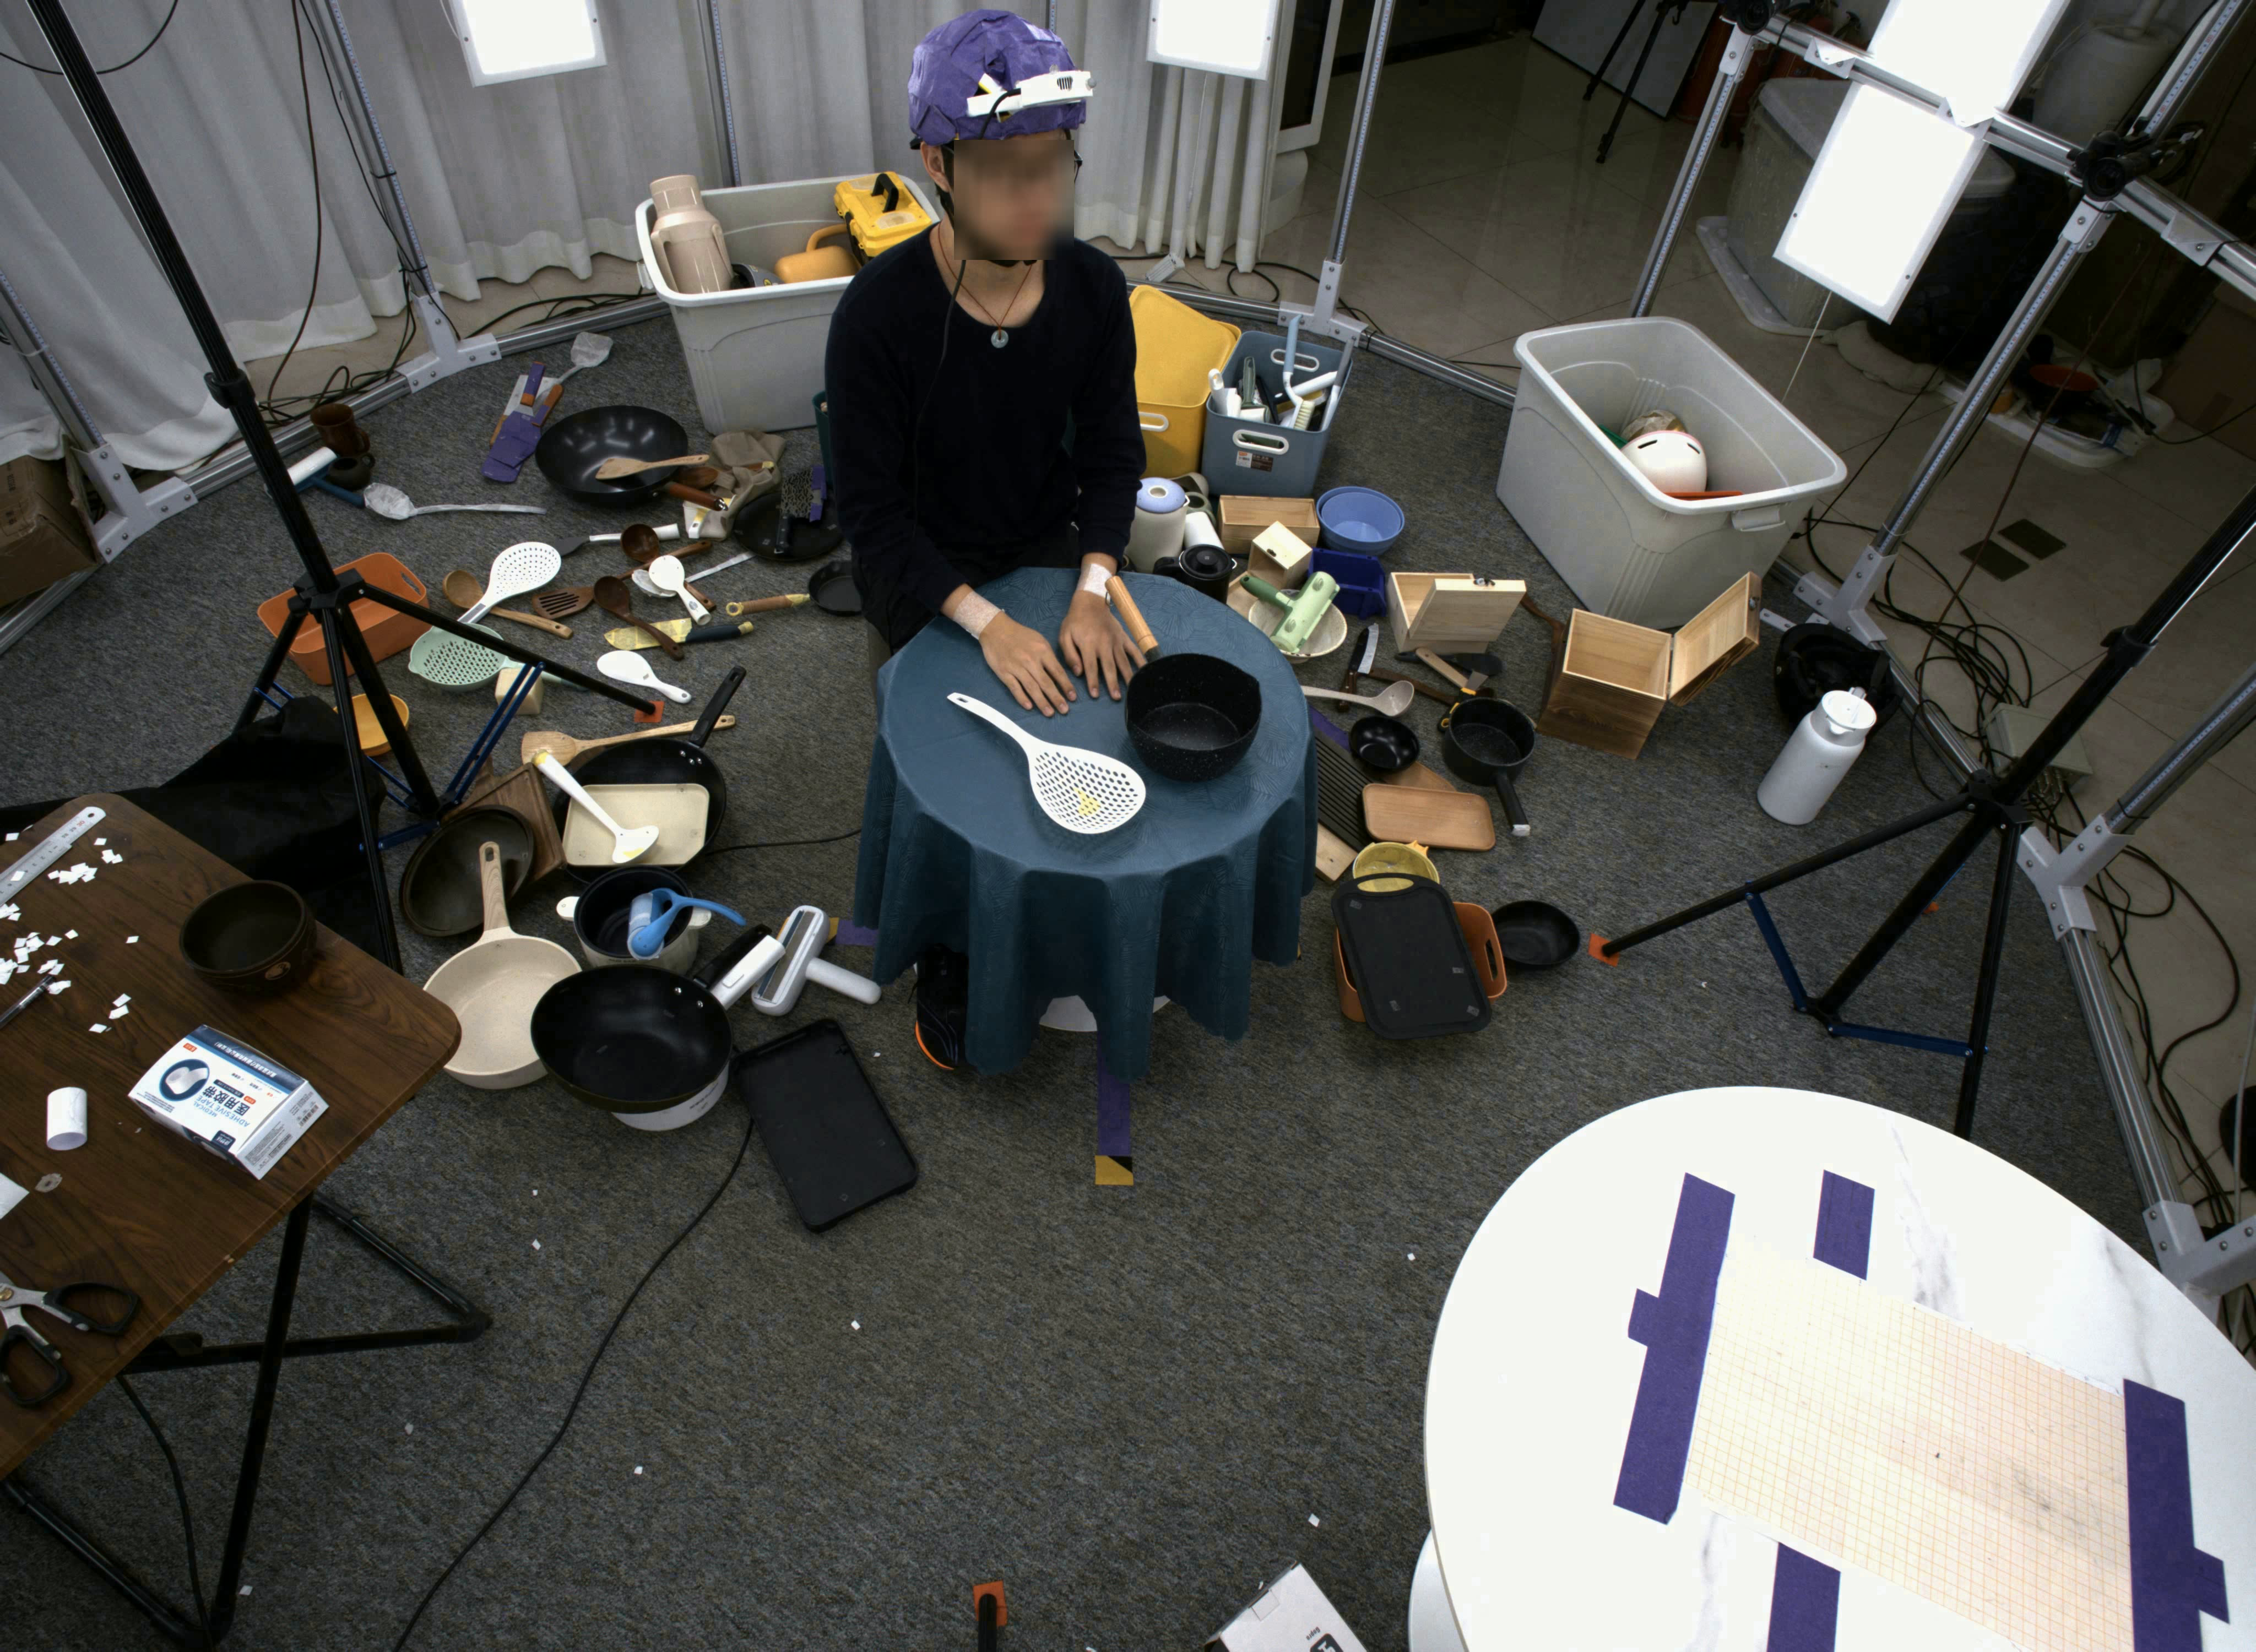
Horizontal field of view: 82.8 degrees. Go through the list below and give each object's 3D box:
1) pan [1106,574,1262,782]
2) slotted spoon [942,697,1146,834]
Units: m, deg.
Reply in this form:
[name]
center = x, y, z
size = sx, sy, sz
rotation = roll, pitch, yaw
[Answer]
[pan]
center = 0.049, -0.206, 1.781
size = 0.208, 0.105, 0.350
rotation = -20, 55, -19
[slotted spoon]
center = -0.125, -0.096, 1.716
size = 0.138, 0.049, 0.353
rotation = -37, 62, -27
